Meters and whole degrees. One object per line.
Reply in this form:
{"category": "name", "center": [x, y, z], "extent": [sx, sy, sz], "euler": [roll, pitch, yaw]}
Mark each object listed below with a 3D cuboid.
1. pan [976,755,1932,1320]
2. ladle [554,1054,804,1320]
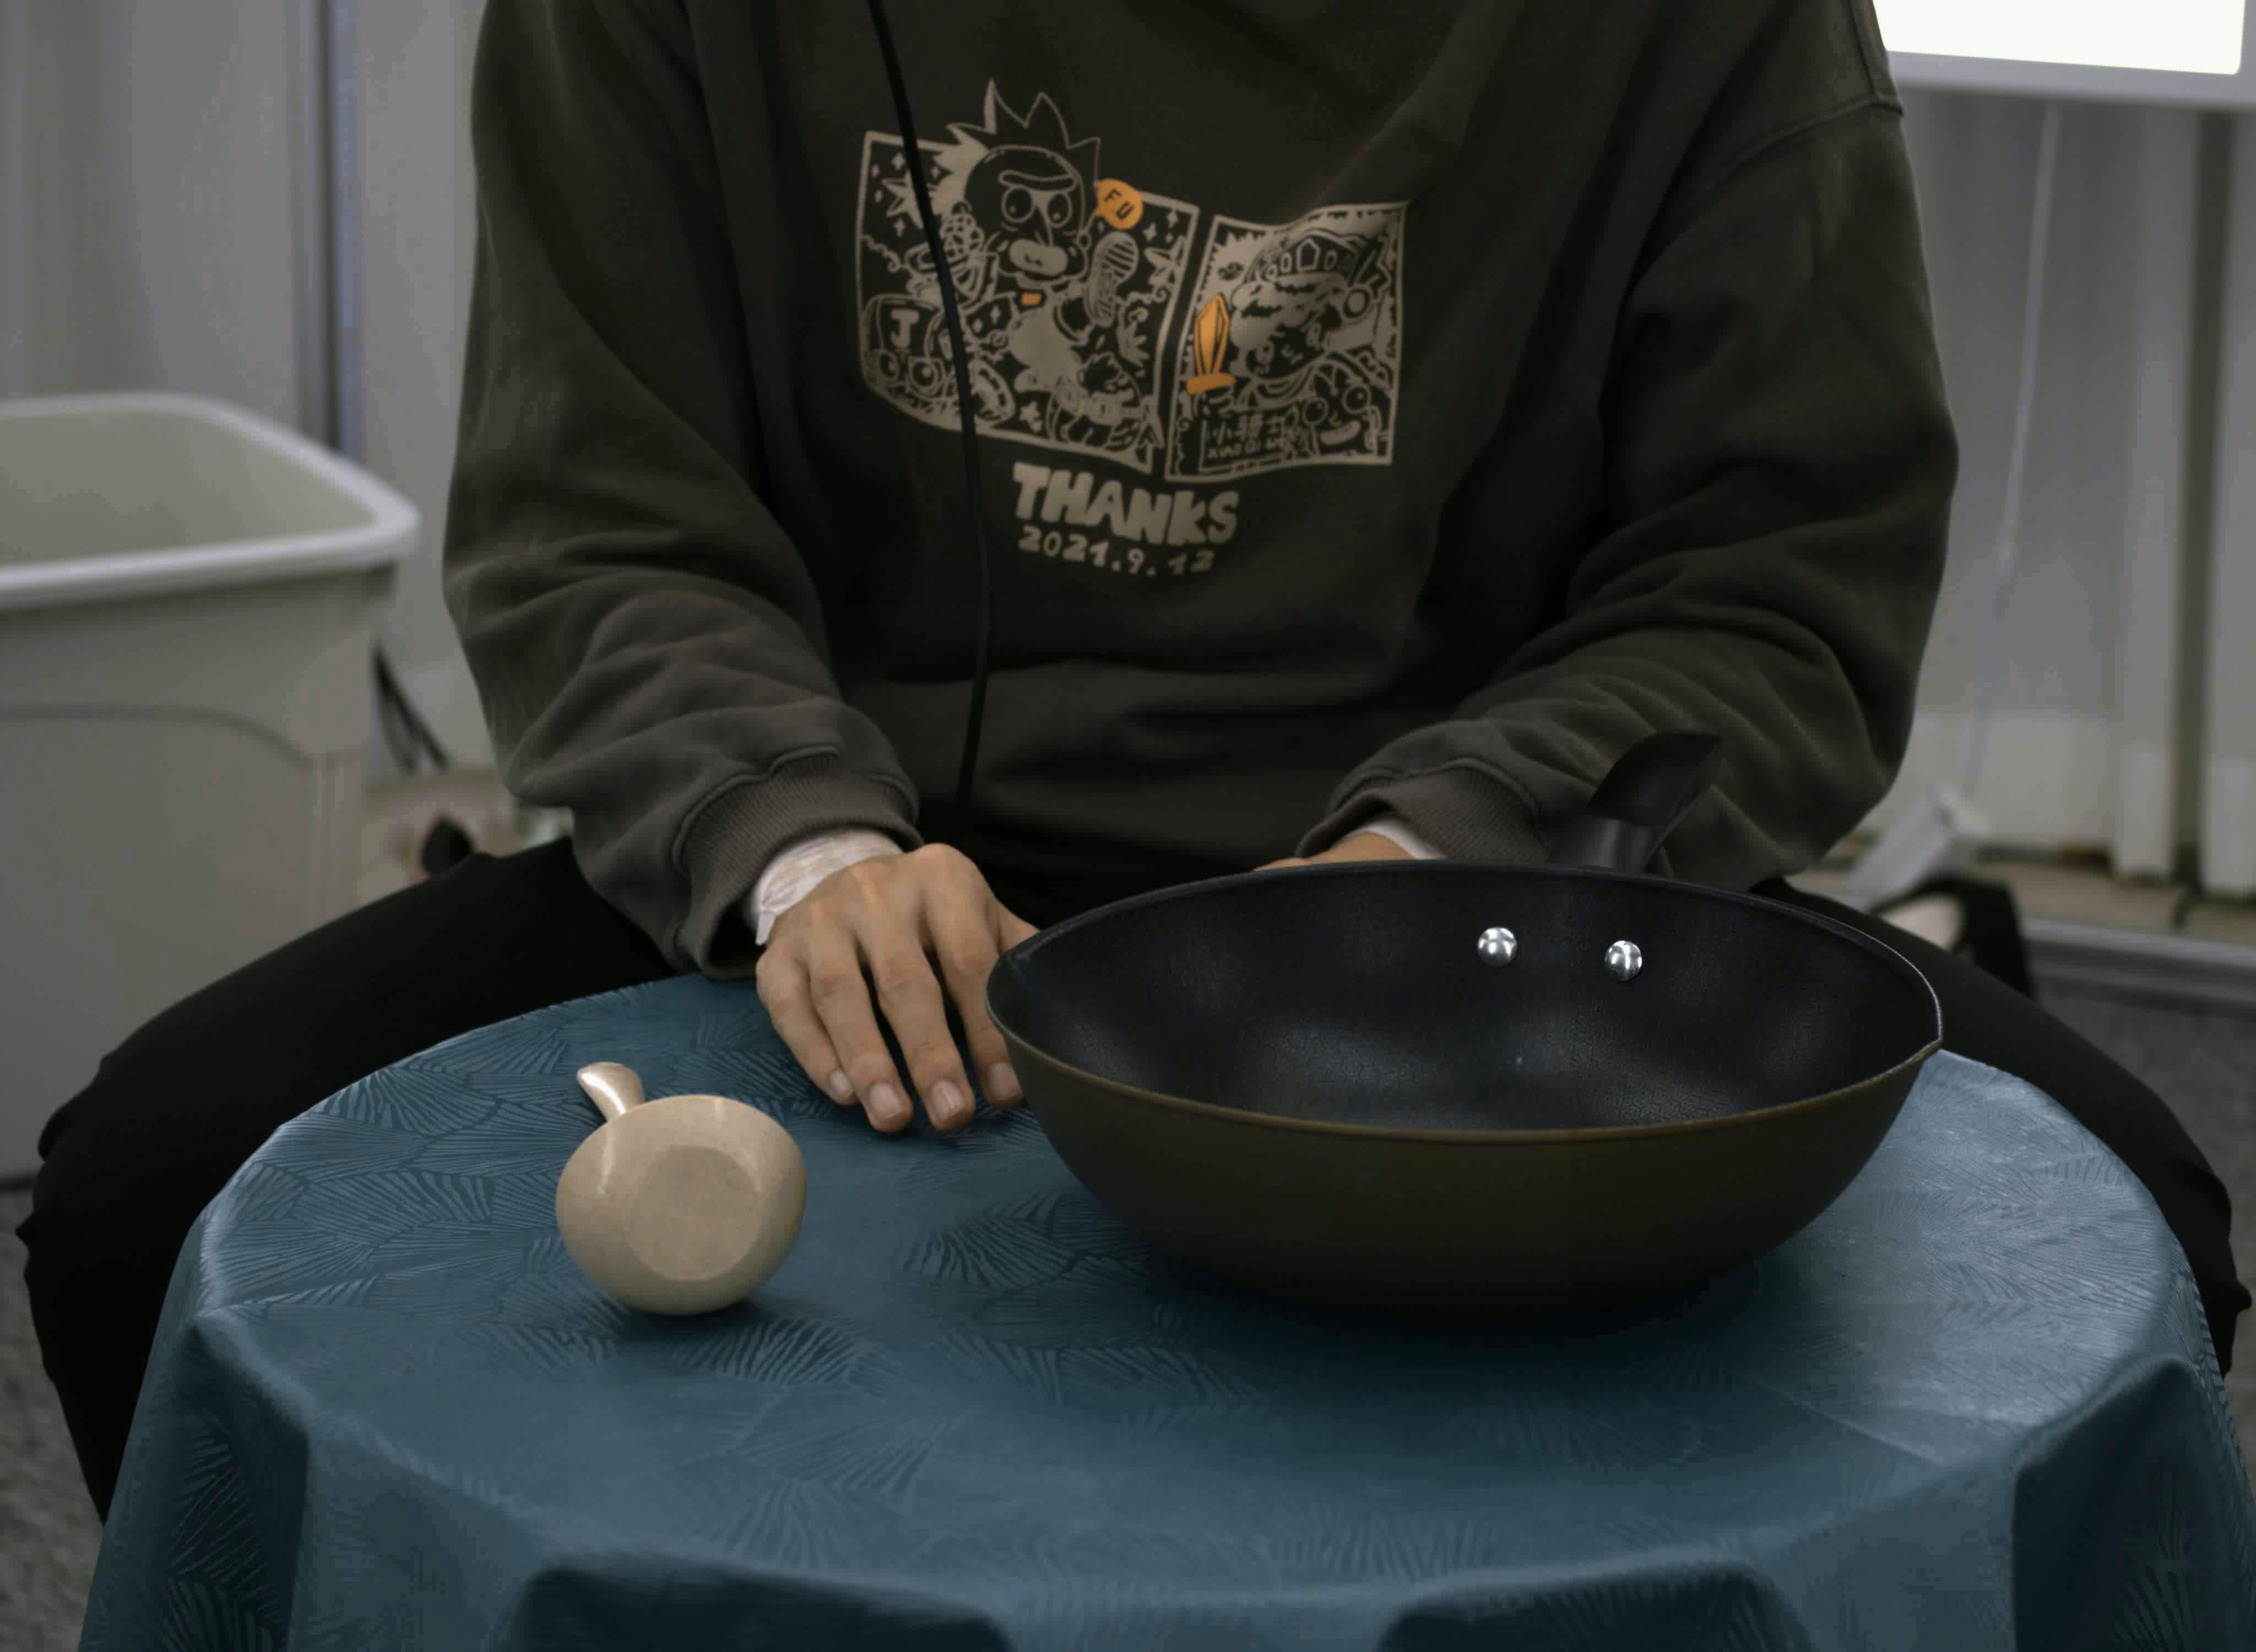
{"category": "pan", "center": [0.124, 0.063, 1.659], "extent": [0.285, 0.087, 0.463], "euler": [5, 15, 17]}
{"category": "ladle", "center": [-0.152, 0.080, 1.605], "extent": [0.072, 0.073, 0.252], "euler": [-7, 18, -13]}
